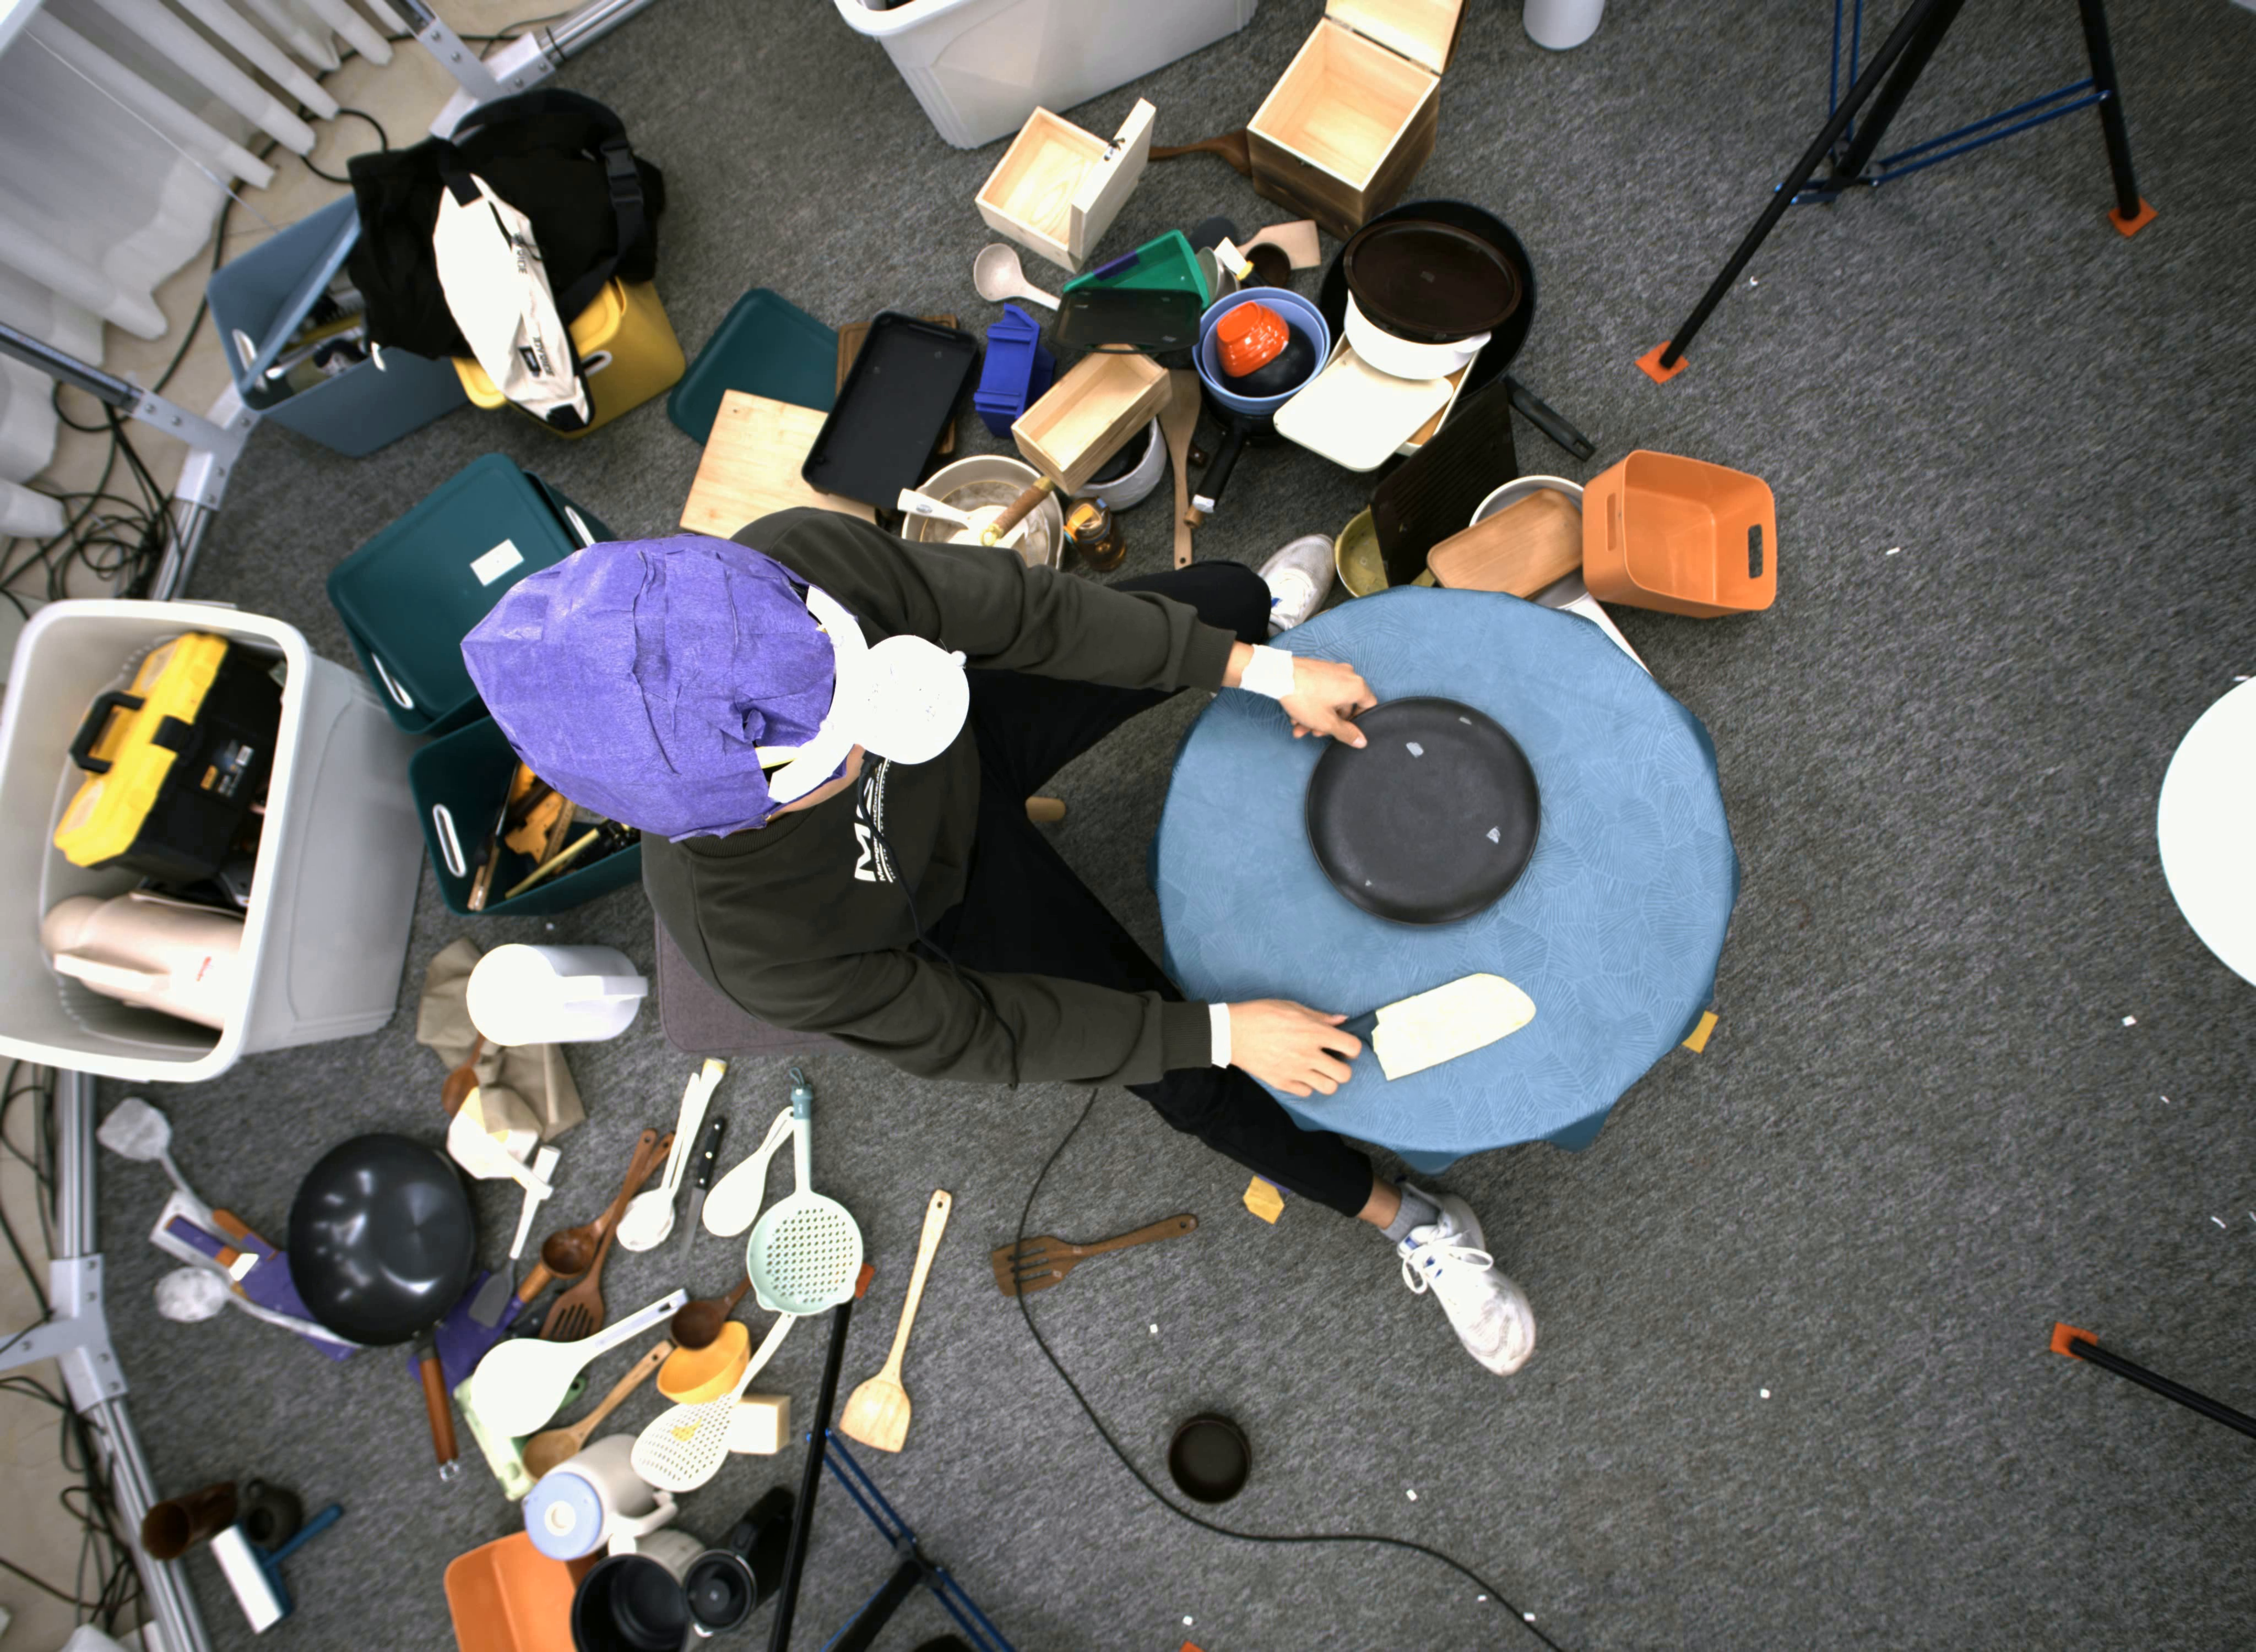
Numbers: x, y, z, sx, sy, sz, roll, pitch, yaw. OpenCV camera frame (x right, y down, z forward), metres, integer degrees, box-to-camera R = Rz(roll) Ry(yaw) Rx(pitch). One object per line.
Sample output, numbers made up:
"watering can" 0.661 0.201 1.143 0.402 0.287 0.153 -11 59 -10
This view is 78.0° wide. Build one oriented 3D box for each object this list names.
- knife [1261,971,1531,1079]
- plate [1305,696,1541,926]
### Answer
"knife" 0.281 0.219 1.443 0.291 0.027 0.080 -19 83 8
"plate" 0.308 -0.017 1.446 0.245 0.023 0.243 -1 86 11
